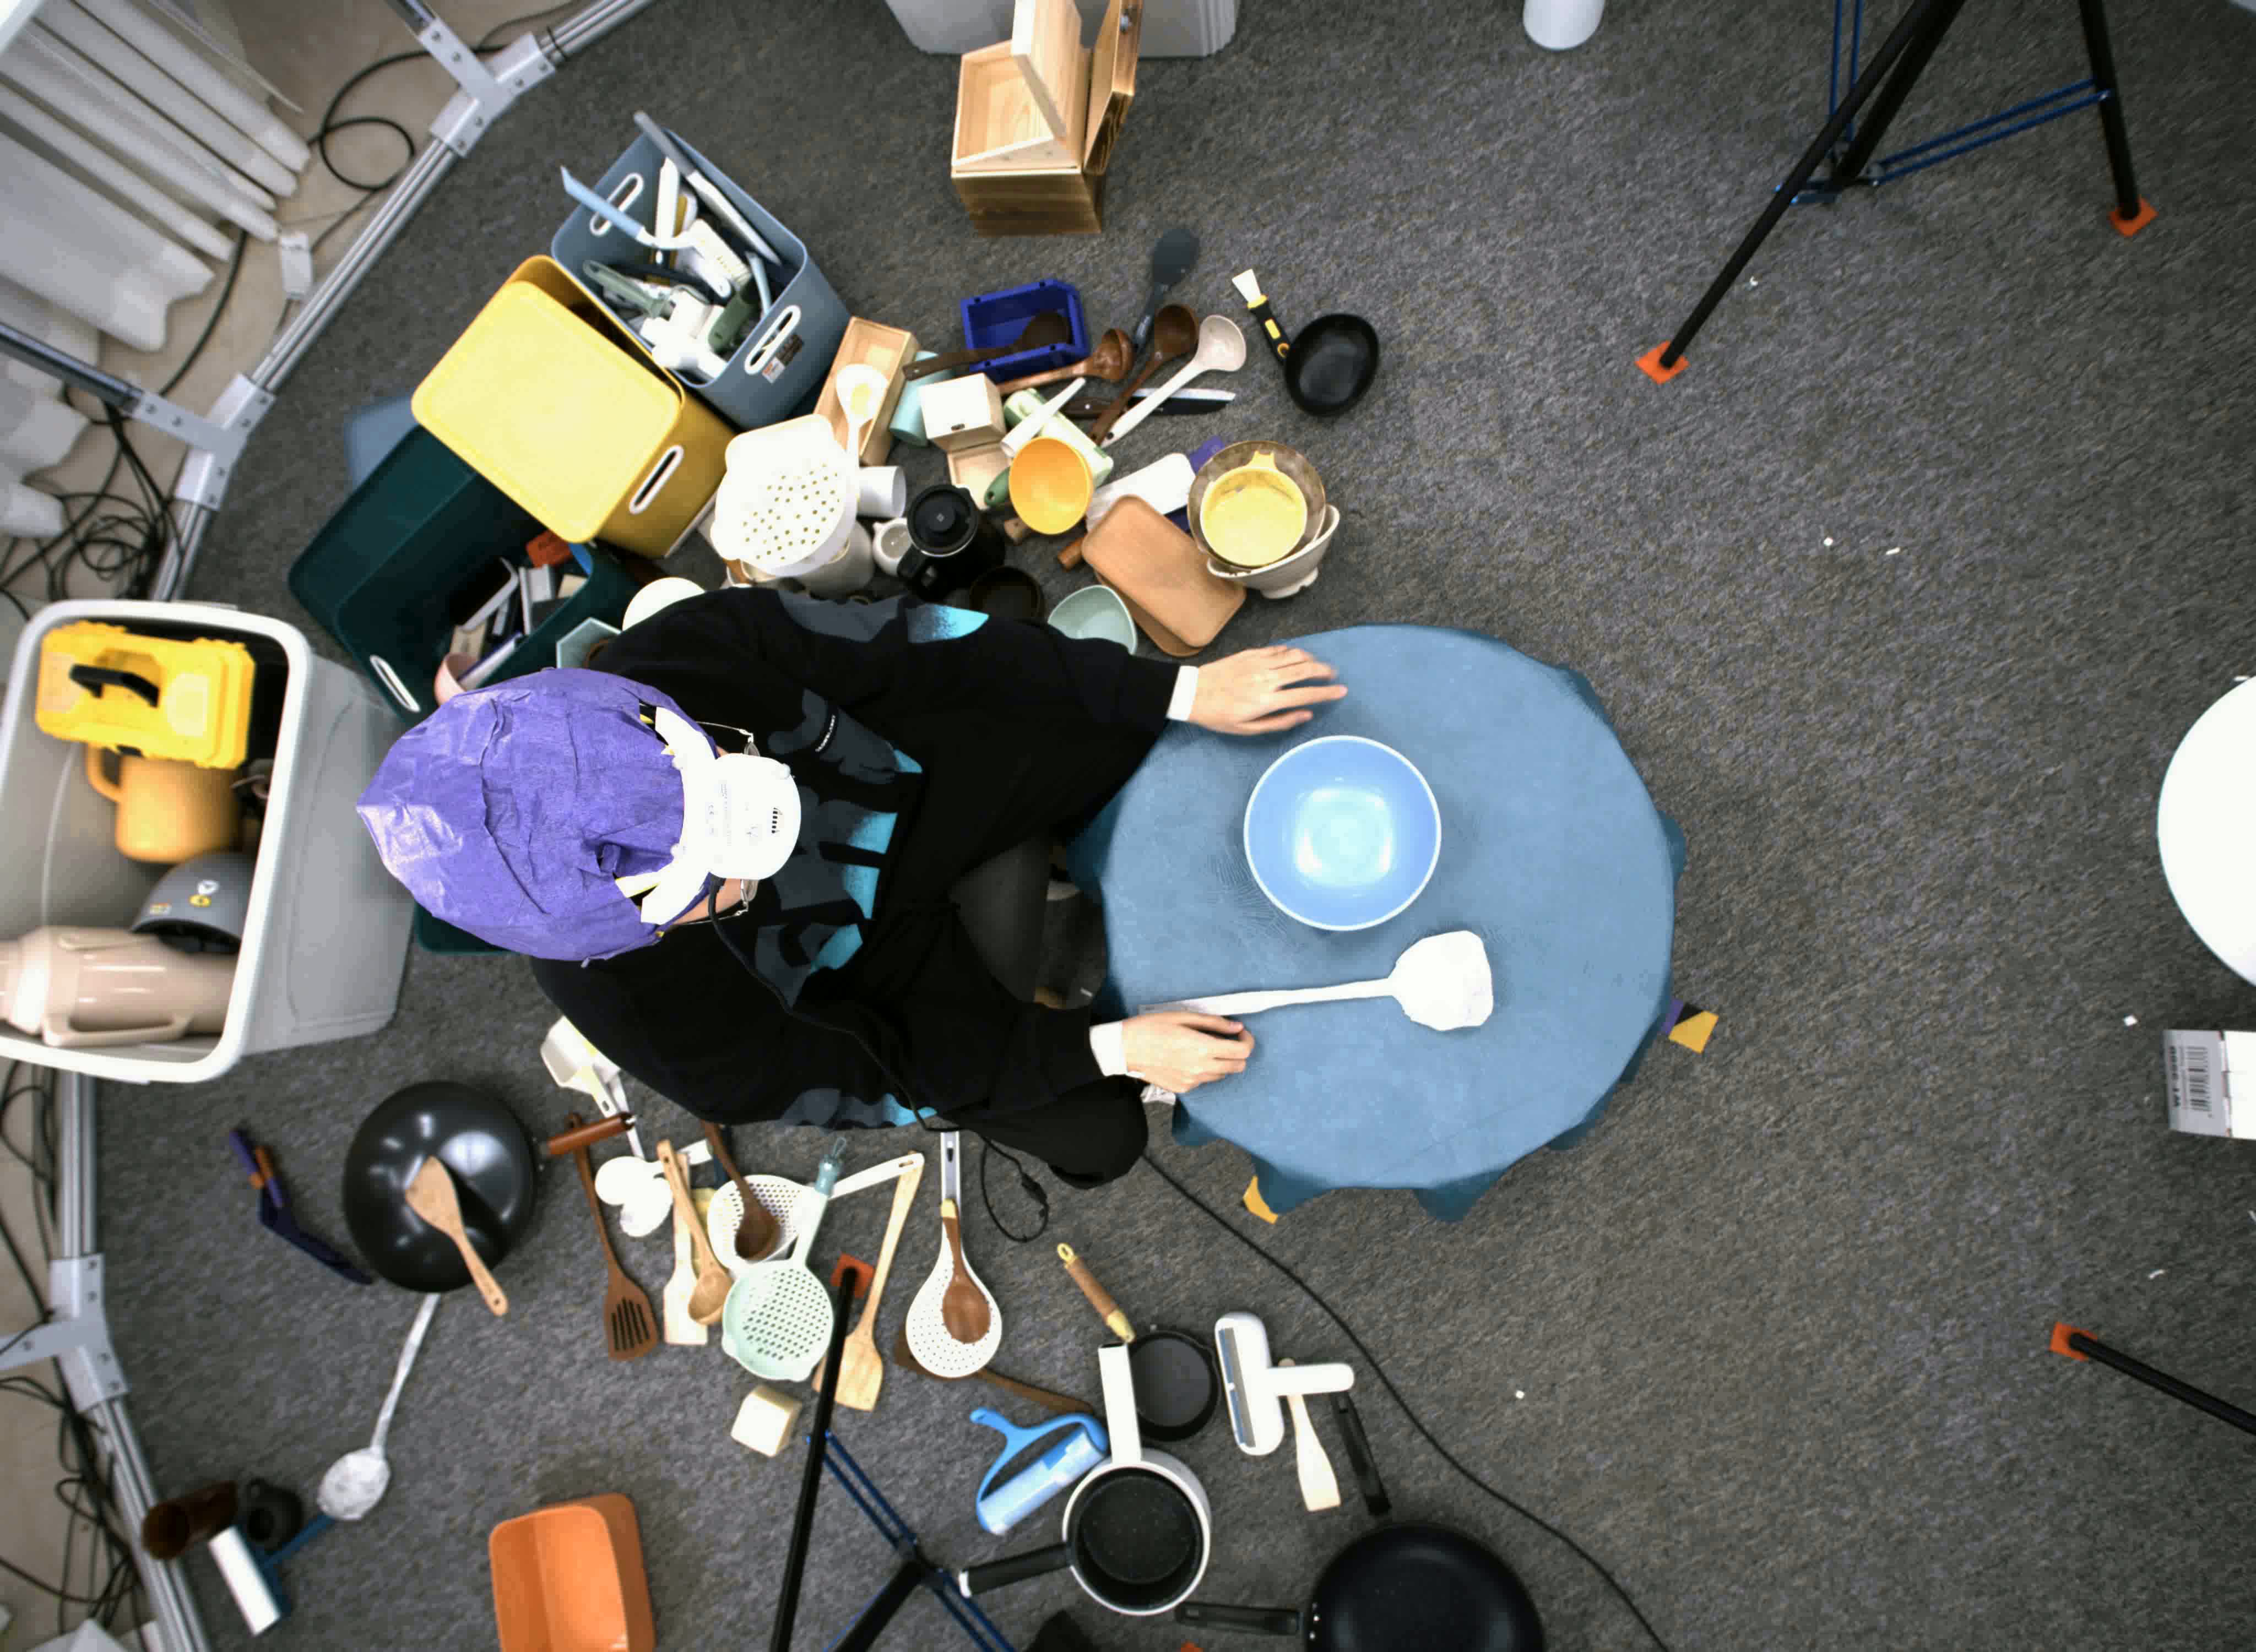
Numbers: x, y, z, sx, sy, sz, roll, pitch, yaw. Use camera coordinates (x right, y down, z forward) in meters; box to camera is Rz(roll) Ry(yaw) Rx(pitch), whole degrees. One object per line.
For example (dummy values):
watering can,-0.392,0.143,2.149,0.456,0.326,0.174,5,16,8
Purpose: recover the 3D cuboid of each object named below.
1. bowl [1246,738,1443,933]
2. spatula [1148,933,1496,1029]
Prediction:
bowl,0.224,0.012,1.430,0.197,0.095,0.195,-1,87,10
spatula,0.198,0.174,1.451,0.366,0.045,0.098,-6,87,10
